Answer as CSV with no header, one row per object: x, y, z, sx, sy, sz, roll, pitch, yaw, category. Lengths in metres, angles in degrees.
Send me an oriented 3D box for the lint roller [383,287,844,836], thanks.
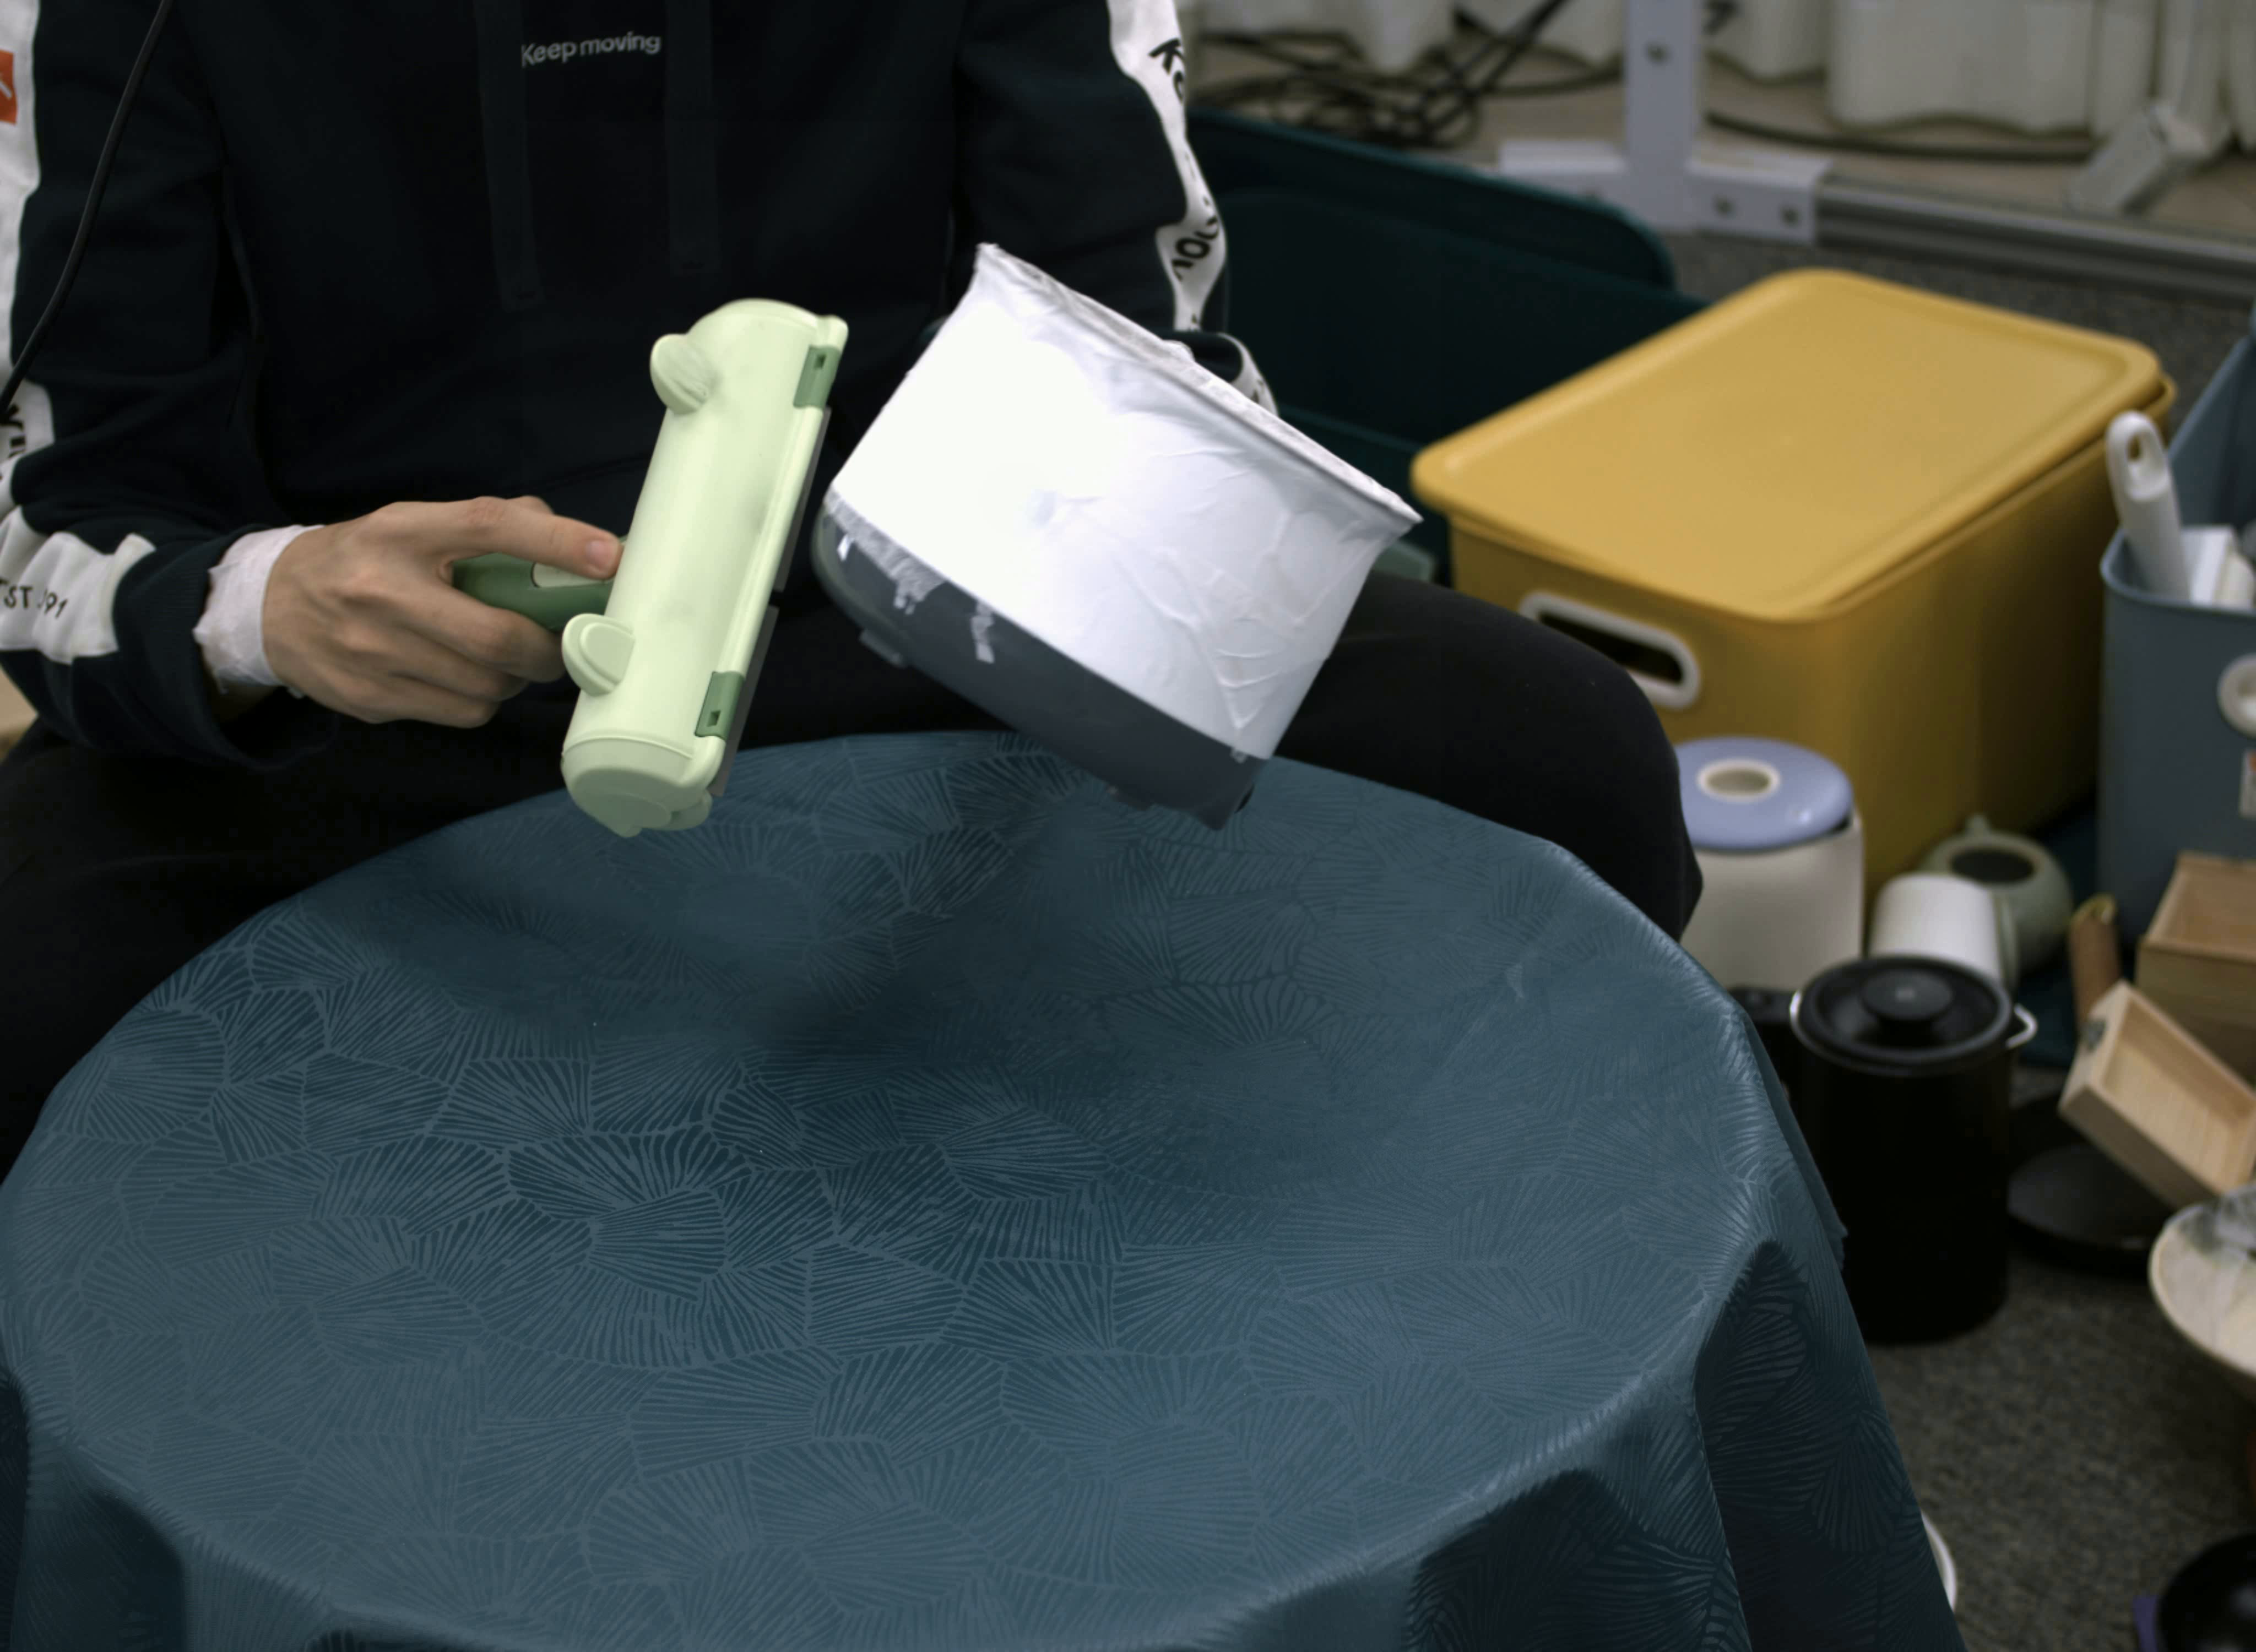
-0.196,-0.093,1.941,0.181,0.081,0.202,-3,57,27,lint roller

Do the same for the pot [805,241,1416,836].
-0.012,-0.101,1.935,0.178,0.136,0.235,31,7,-8,pot
